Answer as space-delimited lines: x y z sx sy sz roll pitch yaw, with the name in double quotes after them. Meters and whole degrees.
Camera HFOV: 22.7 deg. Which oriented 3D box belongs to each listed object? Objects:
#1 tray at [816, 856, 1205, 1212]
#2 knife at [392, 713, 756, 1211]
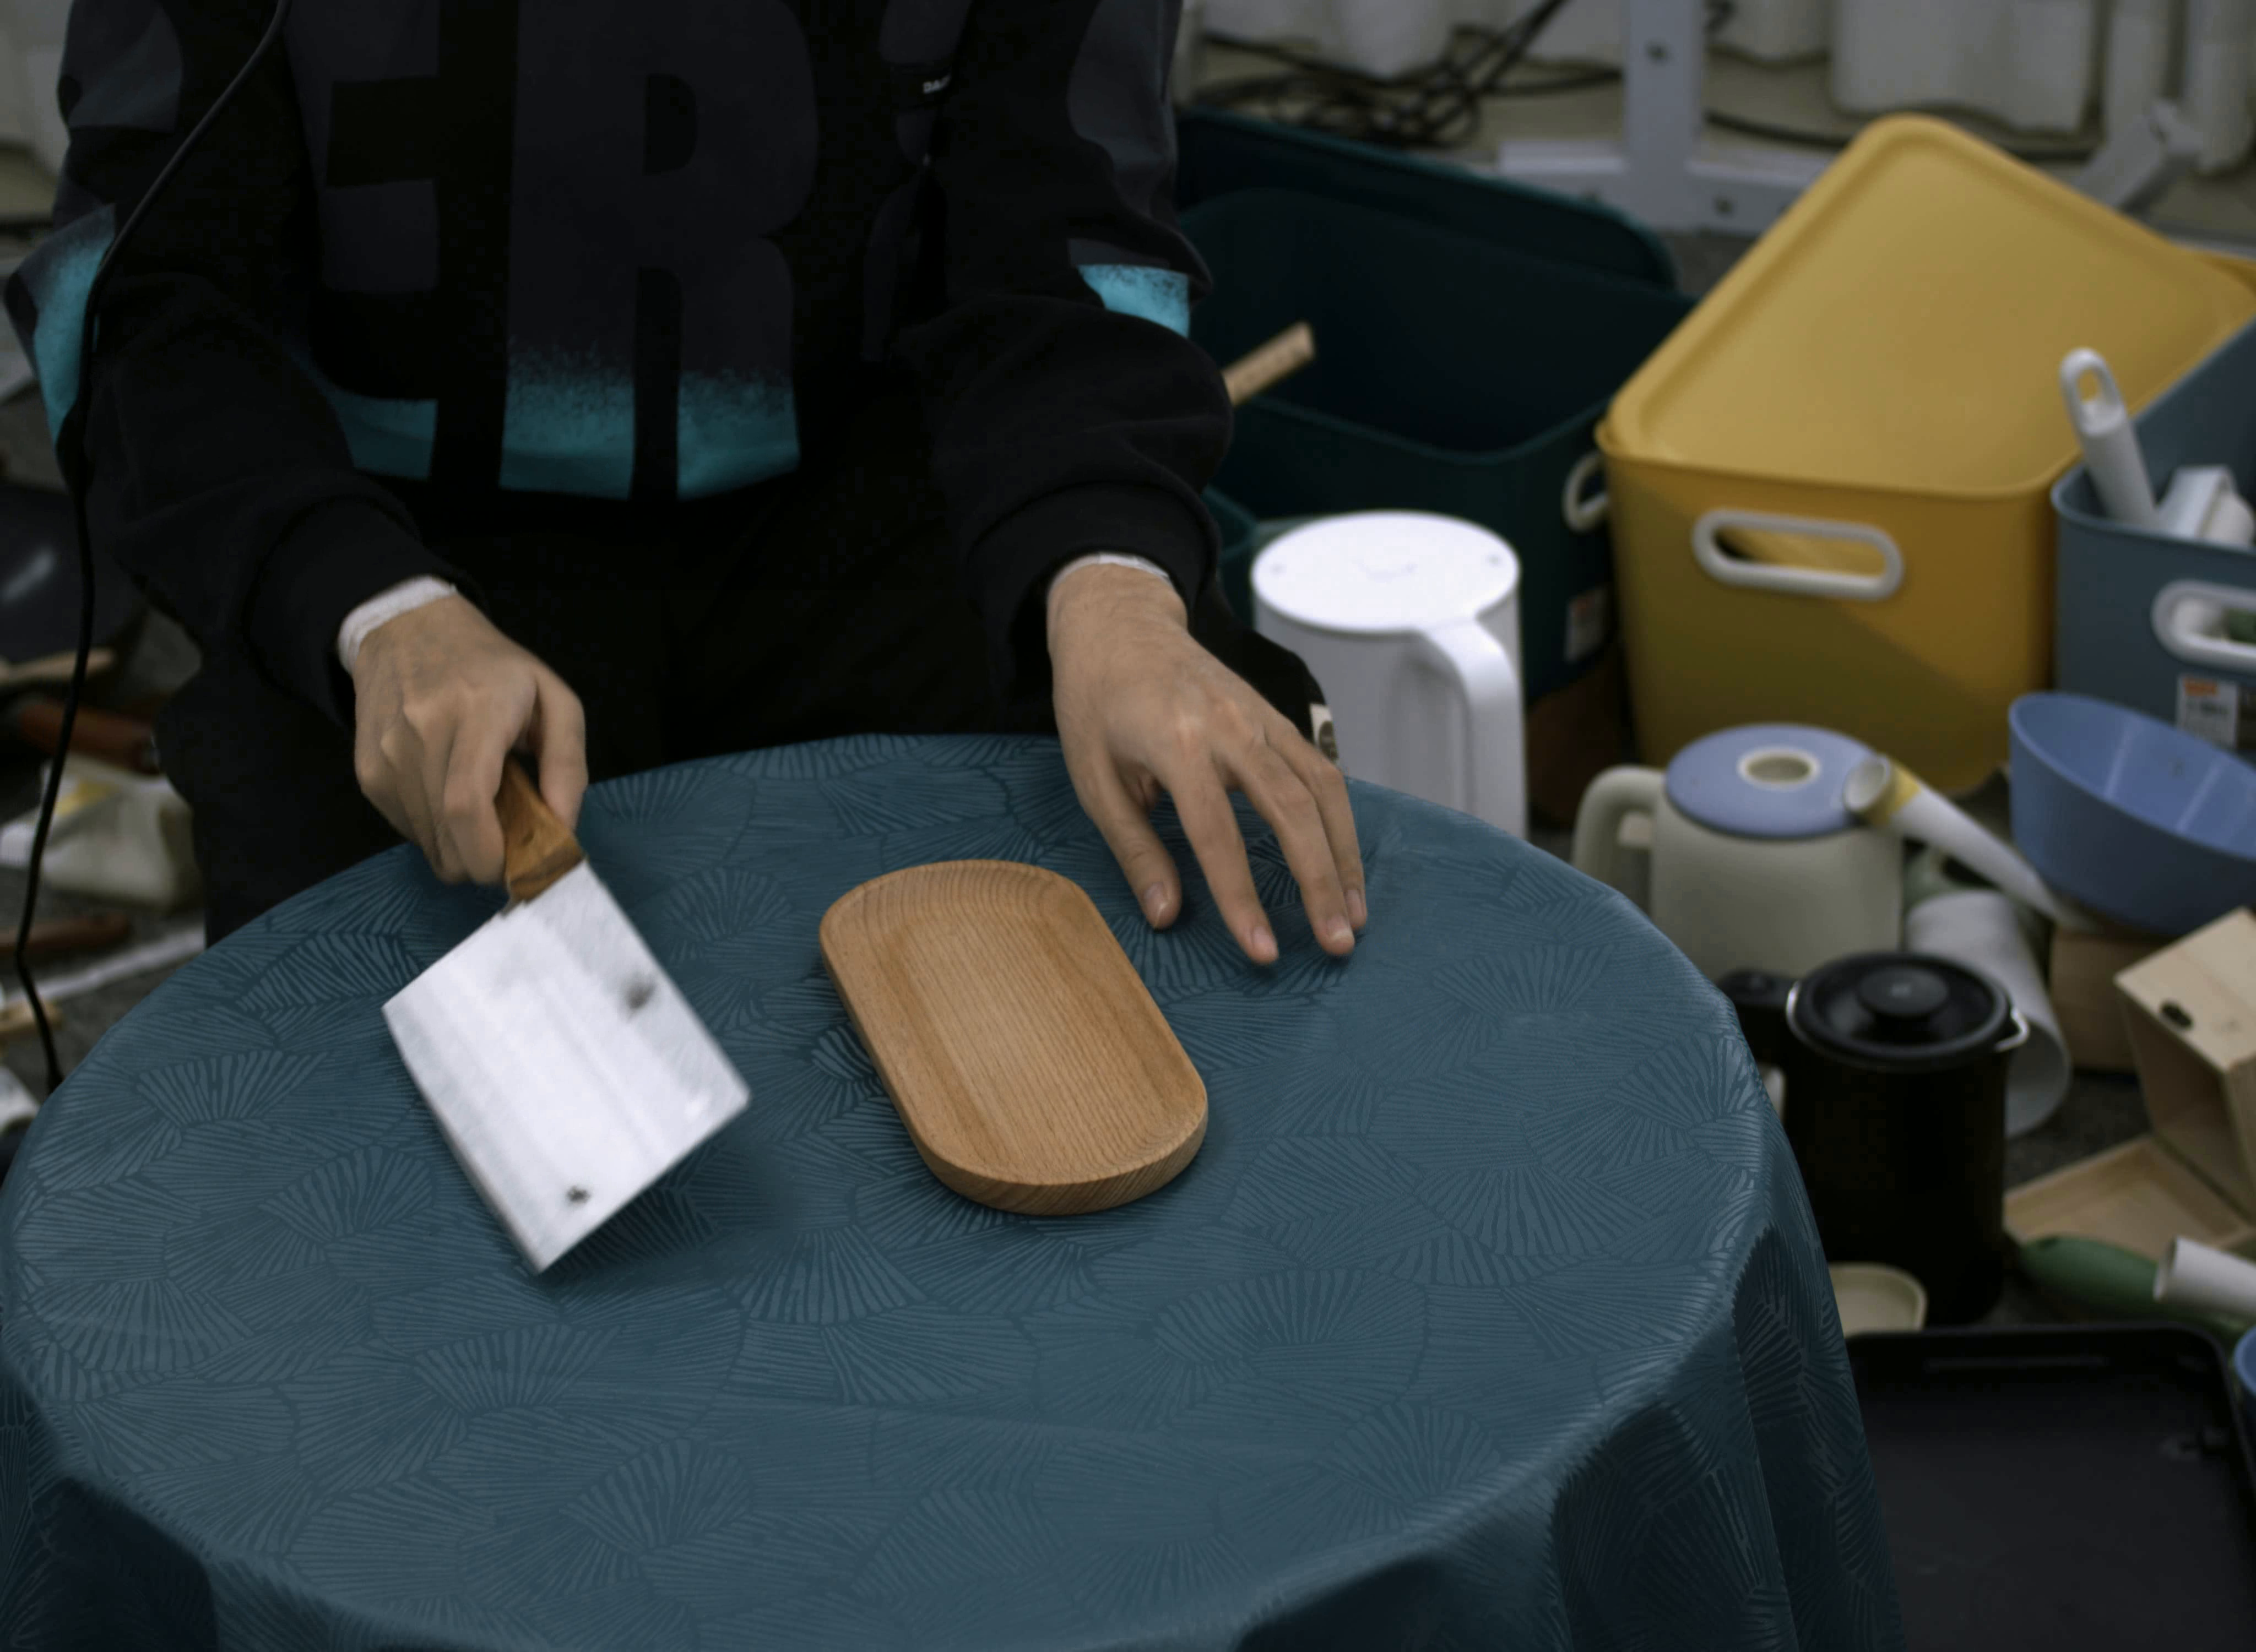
-0.042 0.070 1.948 0.102 0.020 0.233 -9 27 -13 "tray"
-0.211 0.048 1.947 0.093 0.021 0.308 -41 34 -2 "knife"
